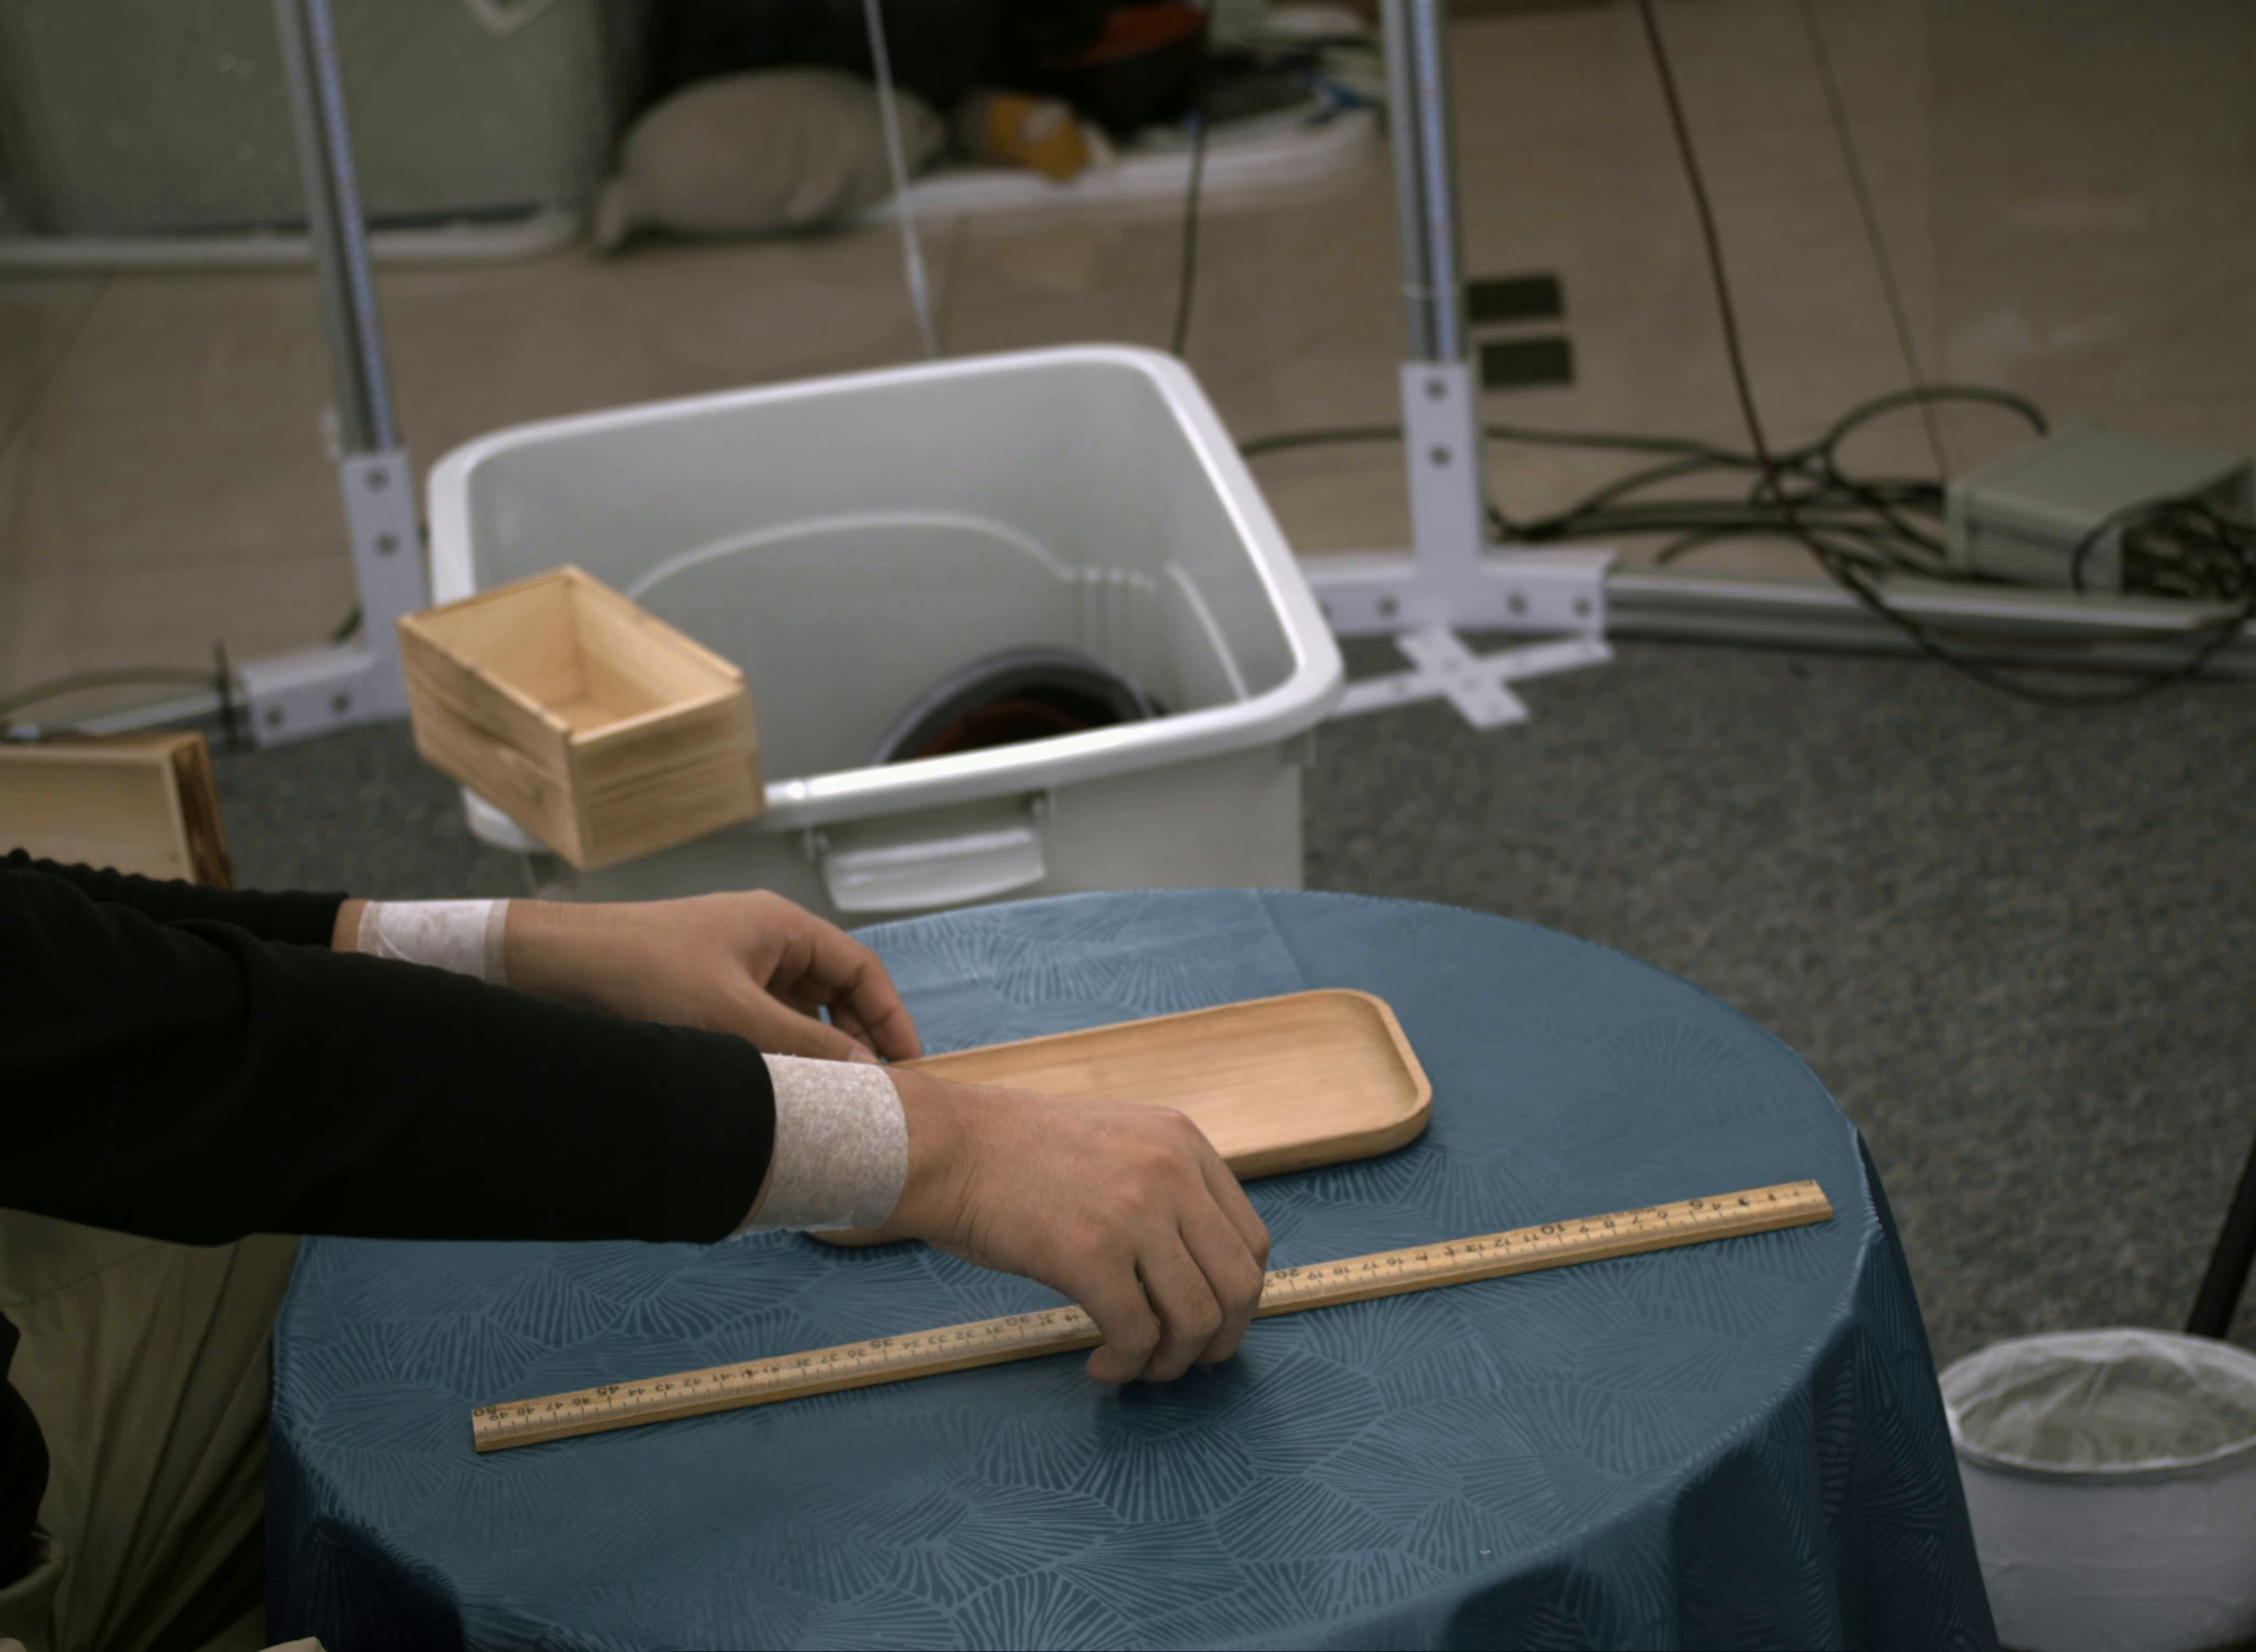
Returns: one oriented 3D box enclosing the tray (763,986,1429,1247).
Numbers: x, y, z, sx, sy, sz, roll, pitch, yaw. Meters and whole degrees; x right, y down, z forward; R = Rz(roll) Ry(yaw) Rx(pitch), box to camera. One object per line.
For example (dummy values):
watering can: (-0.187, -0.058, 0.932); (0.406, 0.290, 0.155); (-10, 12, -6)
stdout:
tray: (-0.013, 0.112, 2.190); (0.250, 0.023, 0.129); (-10, 23, -5)

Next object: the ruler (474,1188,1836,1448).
ruler: (0.011, 0.177, 2.059); (0.499, 0.006, 0.026); (-9, 22, -5)
